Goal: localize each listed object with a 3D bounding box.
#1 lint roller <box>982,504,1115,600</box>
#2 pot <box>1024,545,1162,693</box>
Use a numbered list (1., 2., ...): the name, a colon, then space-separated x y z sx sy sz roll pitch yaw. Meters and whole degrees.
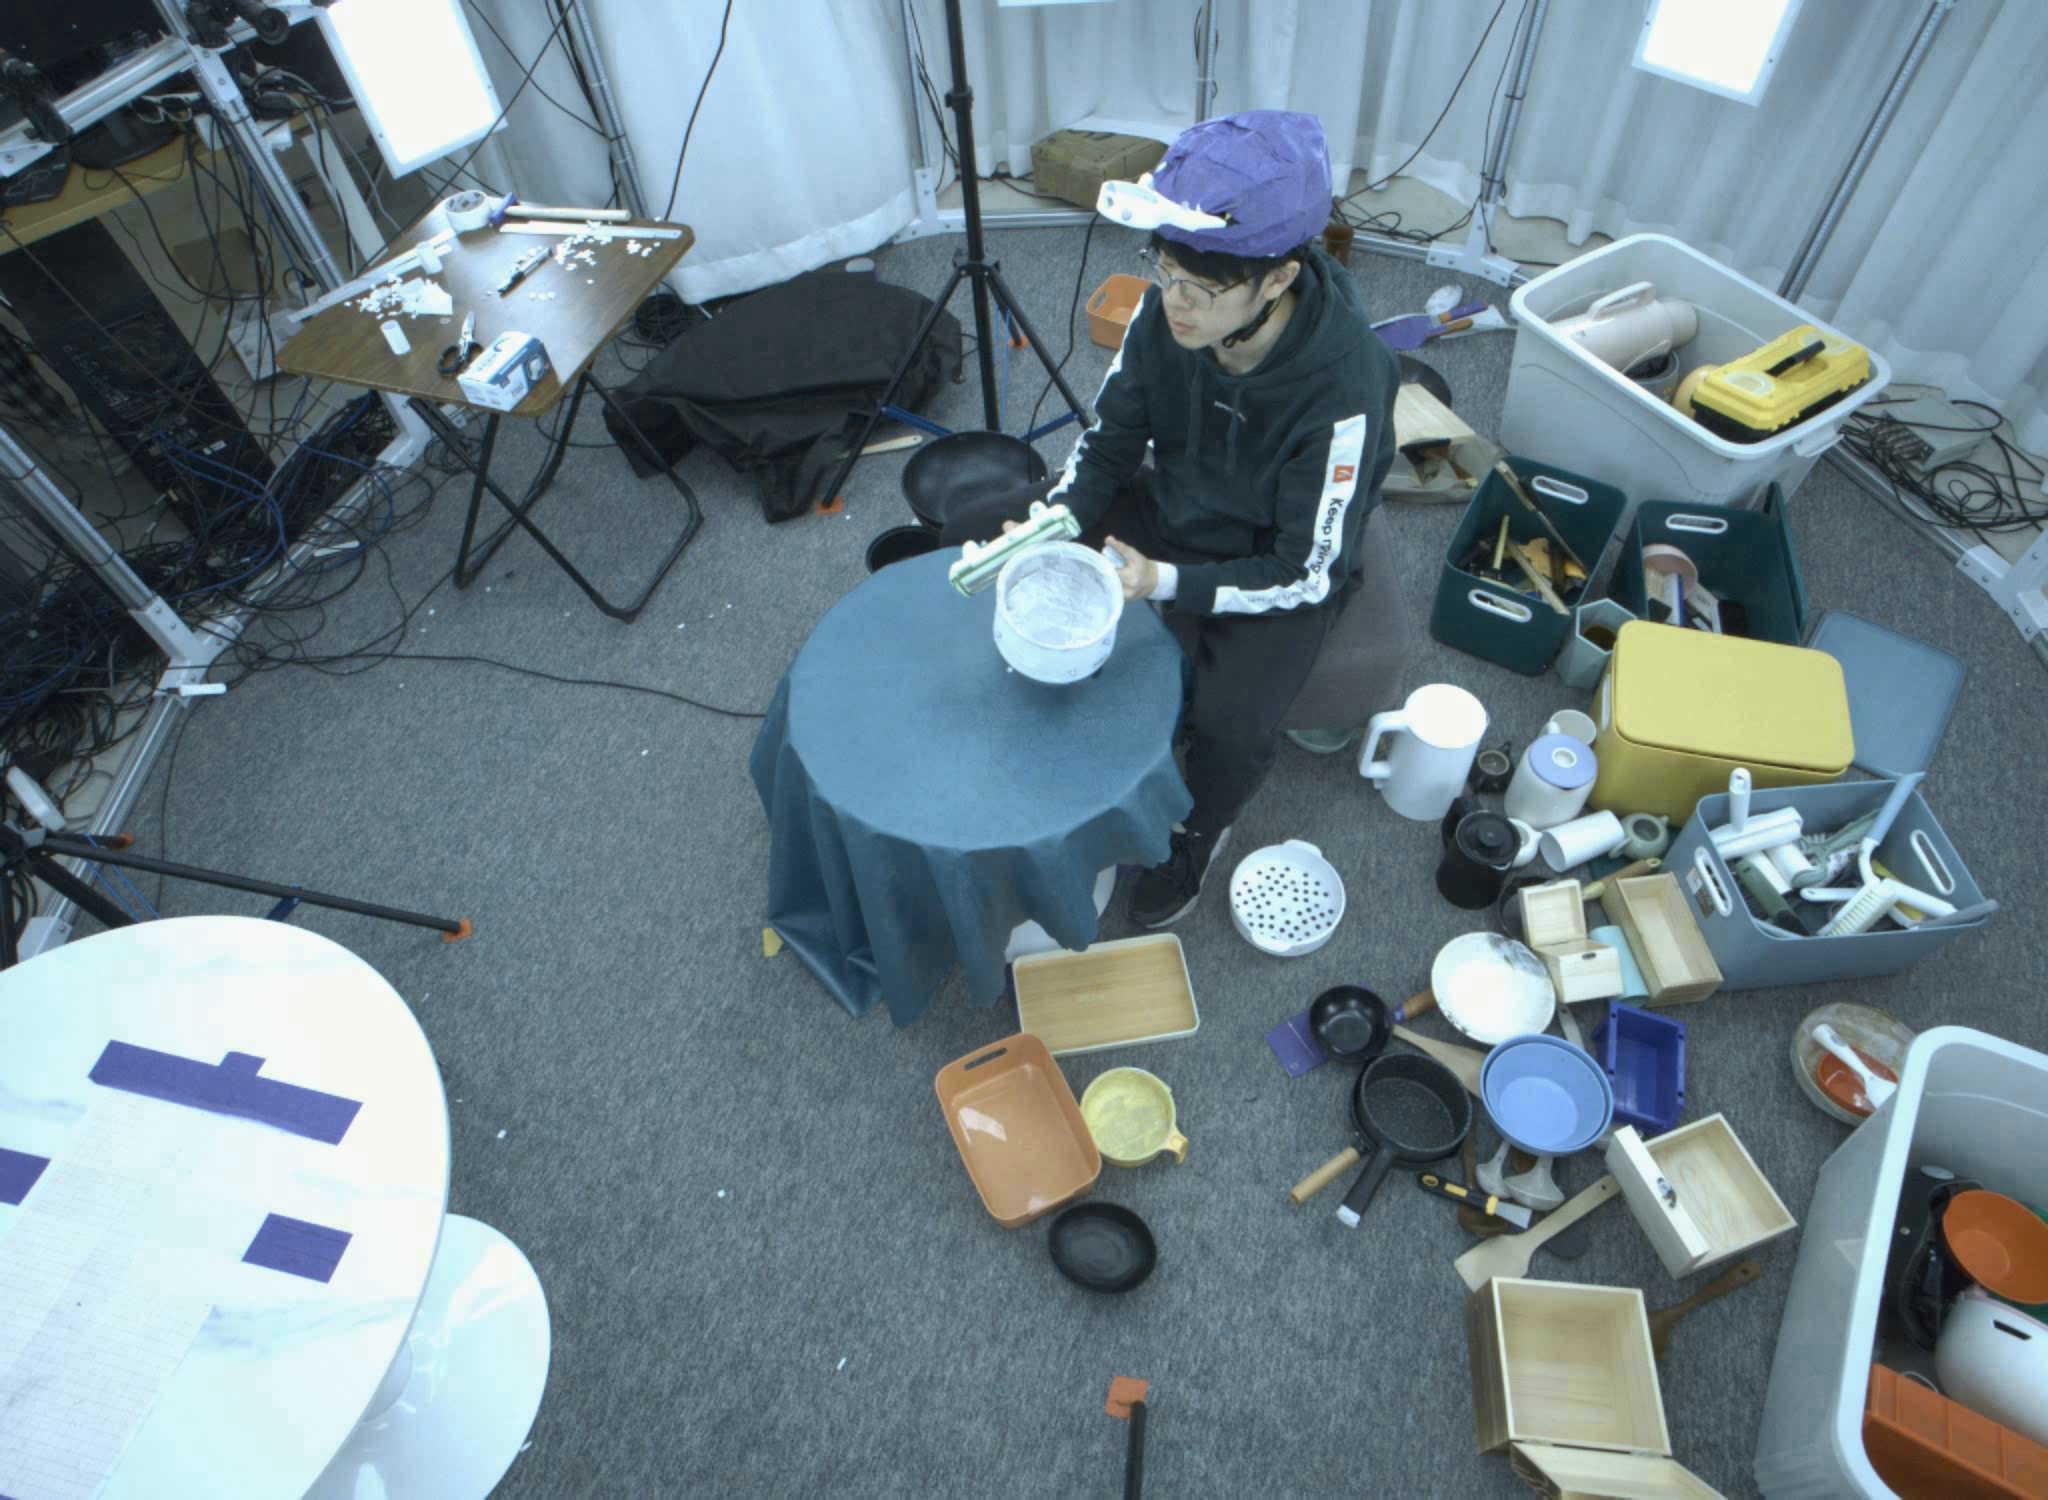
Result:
1. lint roller: 0.043 -0.297 1.801 0.197 0.184 0.082 -26 95 17
2. pot: 0.109 -0.197 1.744 0.177 0.137 0.235 43 70 13
